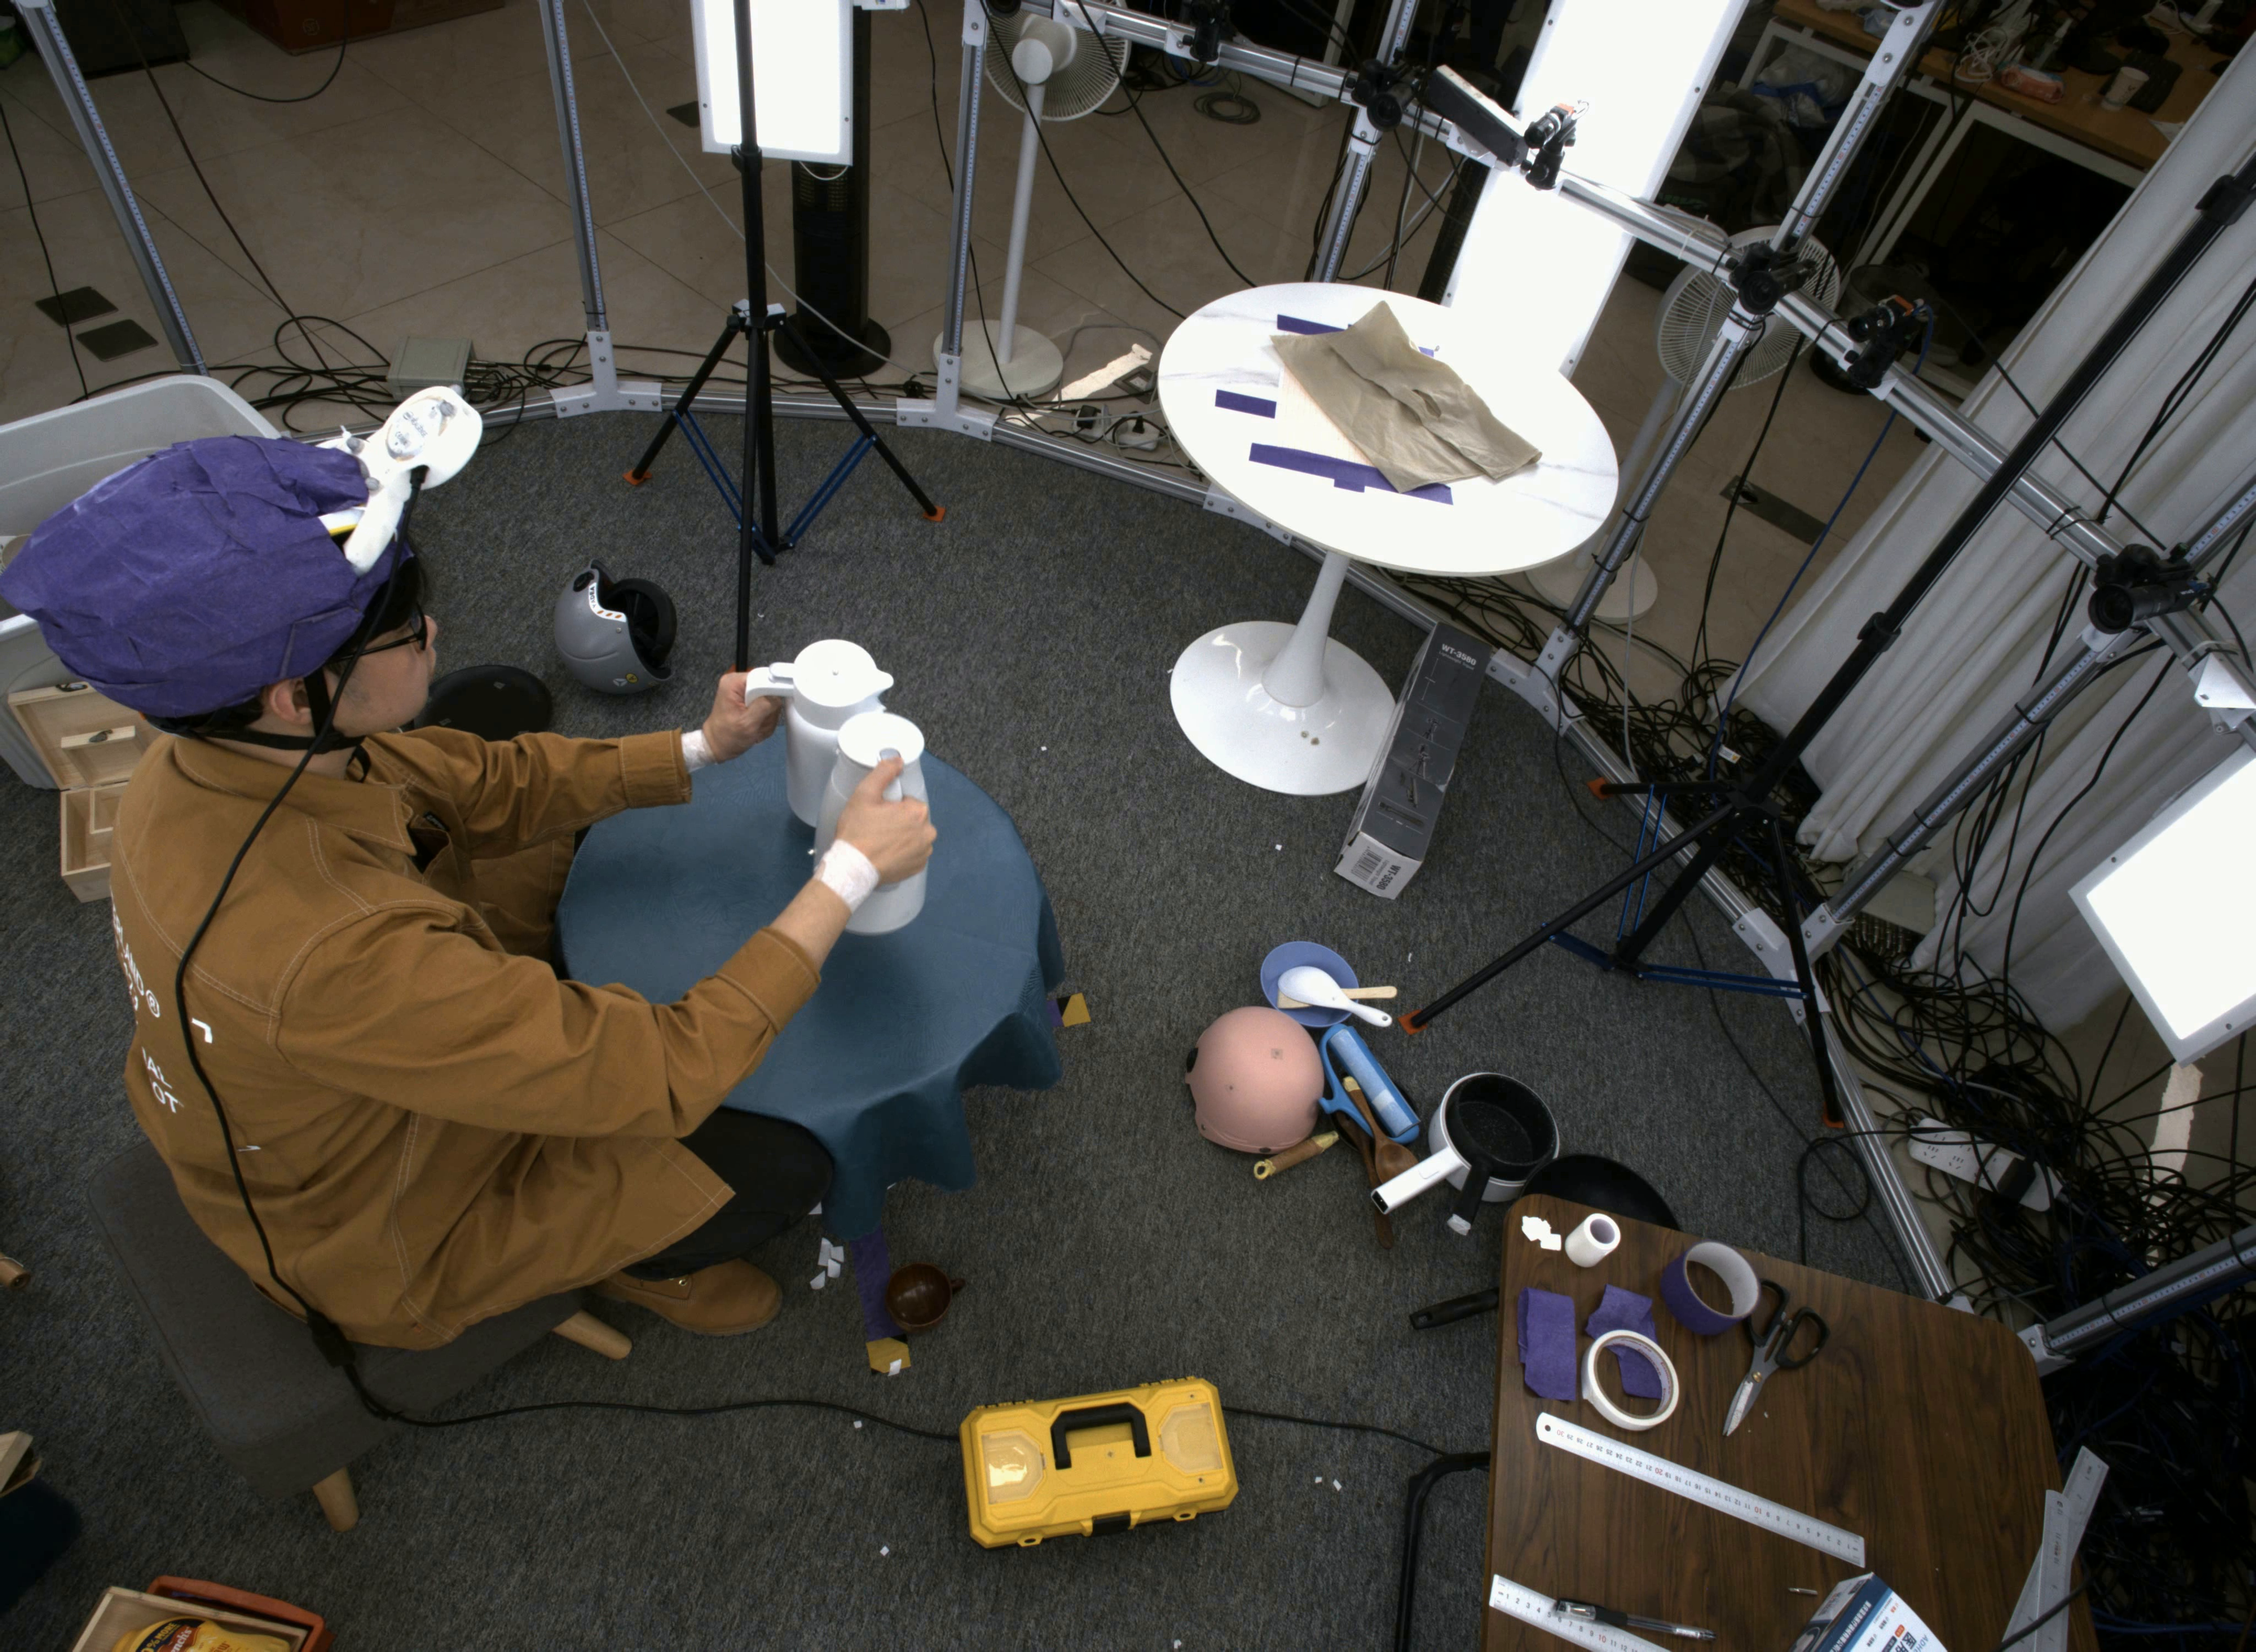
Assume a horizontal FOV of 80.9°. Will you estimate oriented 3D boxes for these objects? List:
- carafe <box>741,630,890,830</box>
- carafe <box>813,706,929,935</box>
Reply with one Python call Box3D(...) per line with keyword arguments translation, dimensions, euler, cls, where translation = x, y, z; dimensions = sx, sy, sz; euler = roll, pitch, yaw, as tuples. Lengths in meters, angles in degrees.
Box3D(translation=(-0.384, -0.112, 1.595), dimensions=(0.173, 0.273, 0.122), euler=(0, 59, -13), cls="carafe")
Box3D(translation=(-0.278, 0.001, 1.438), dimensions=(0.133, 0.254, 0.163), euler=(-6, 47, -21), cls="carafe")
